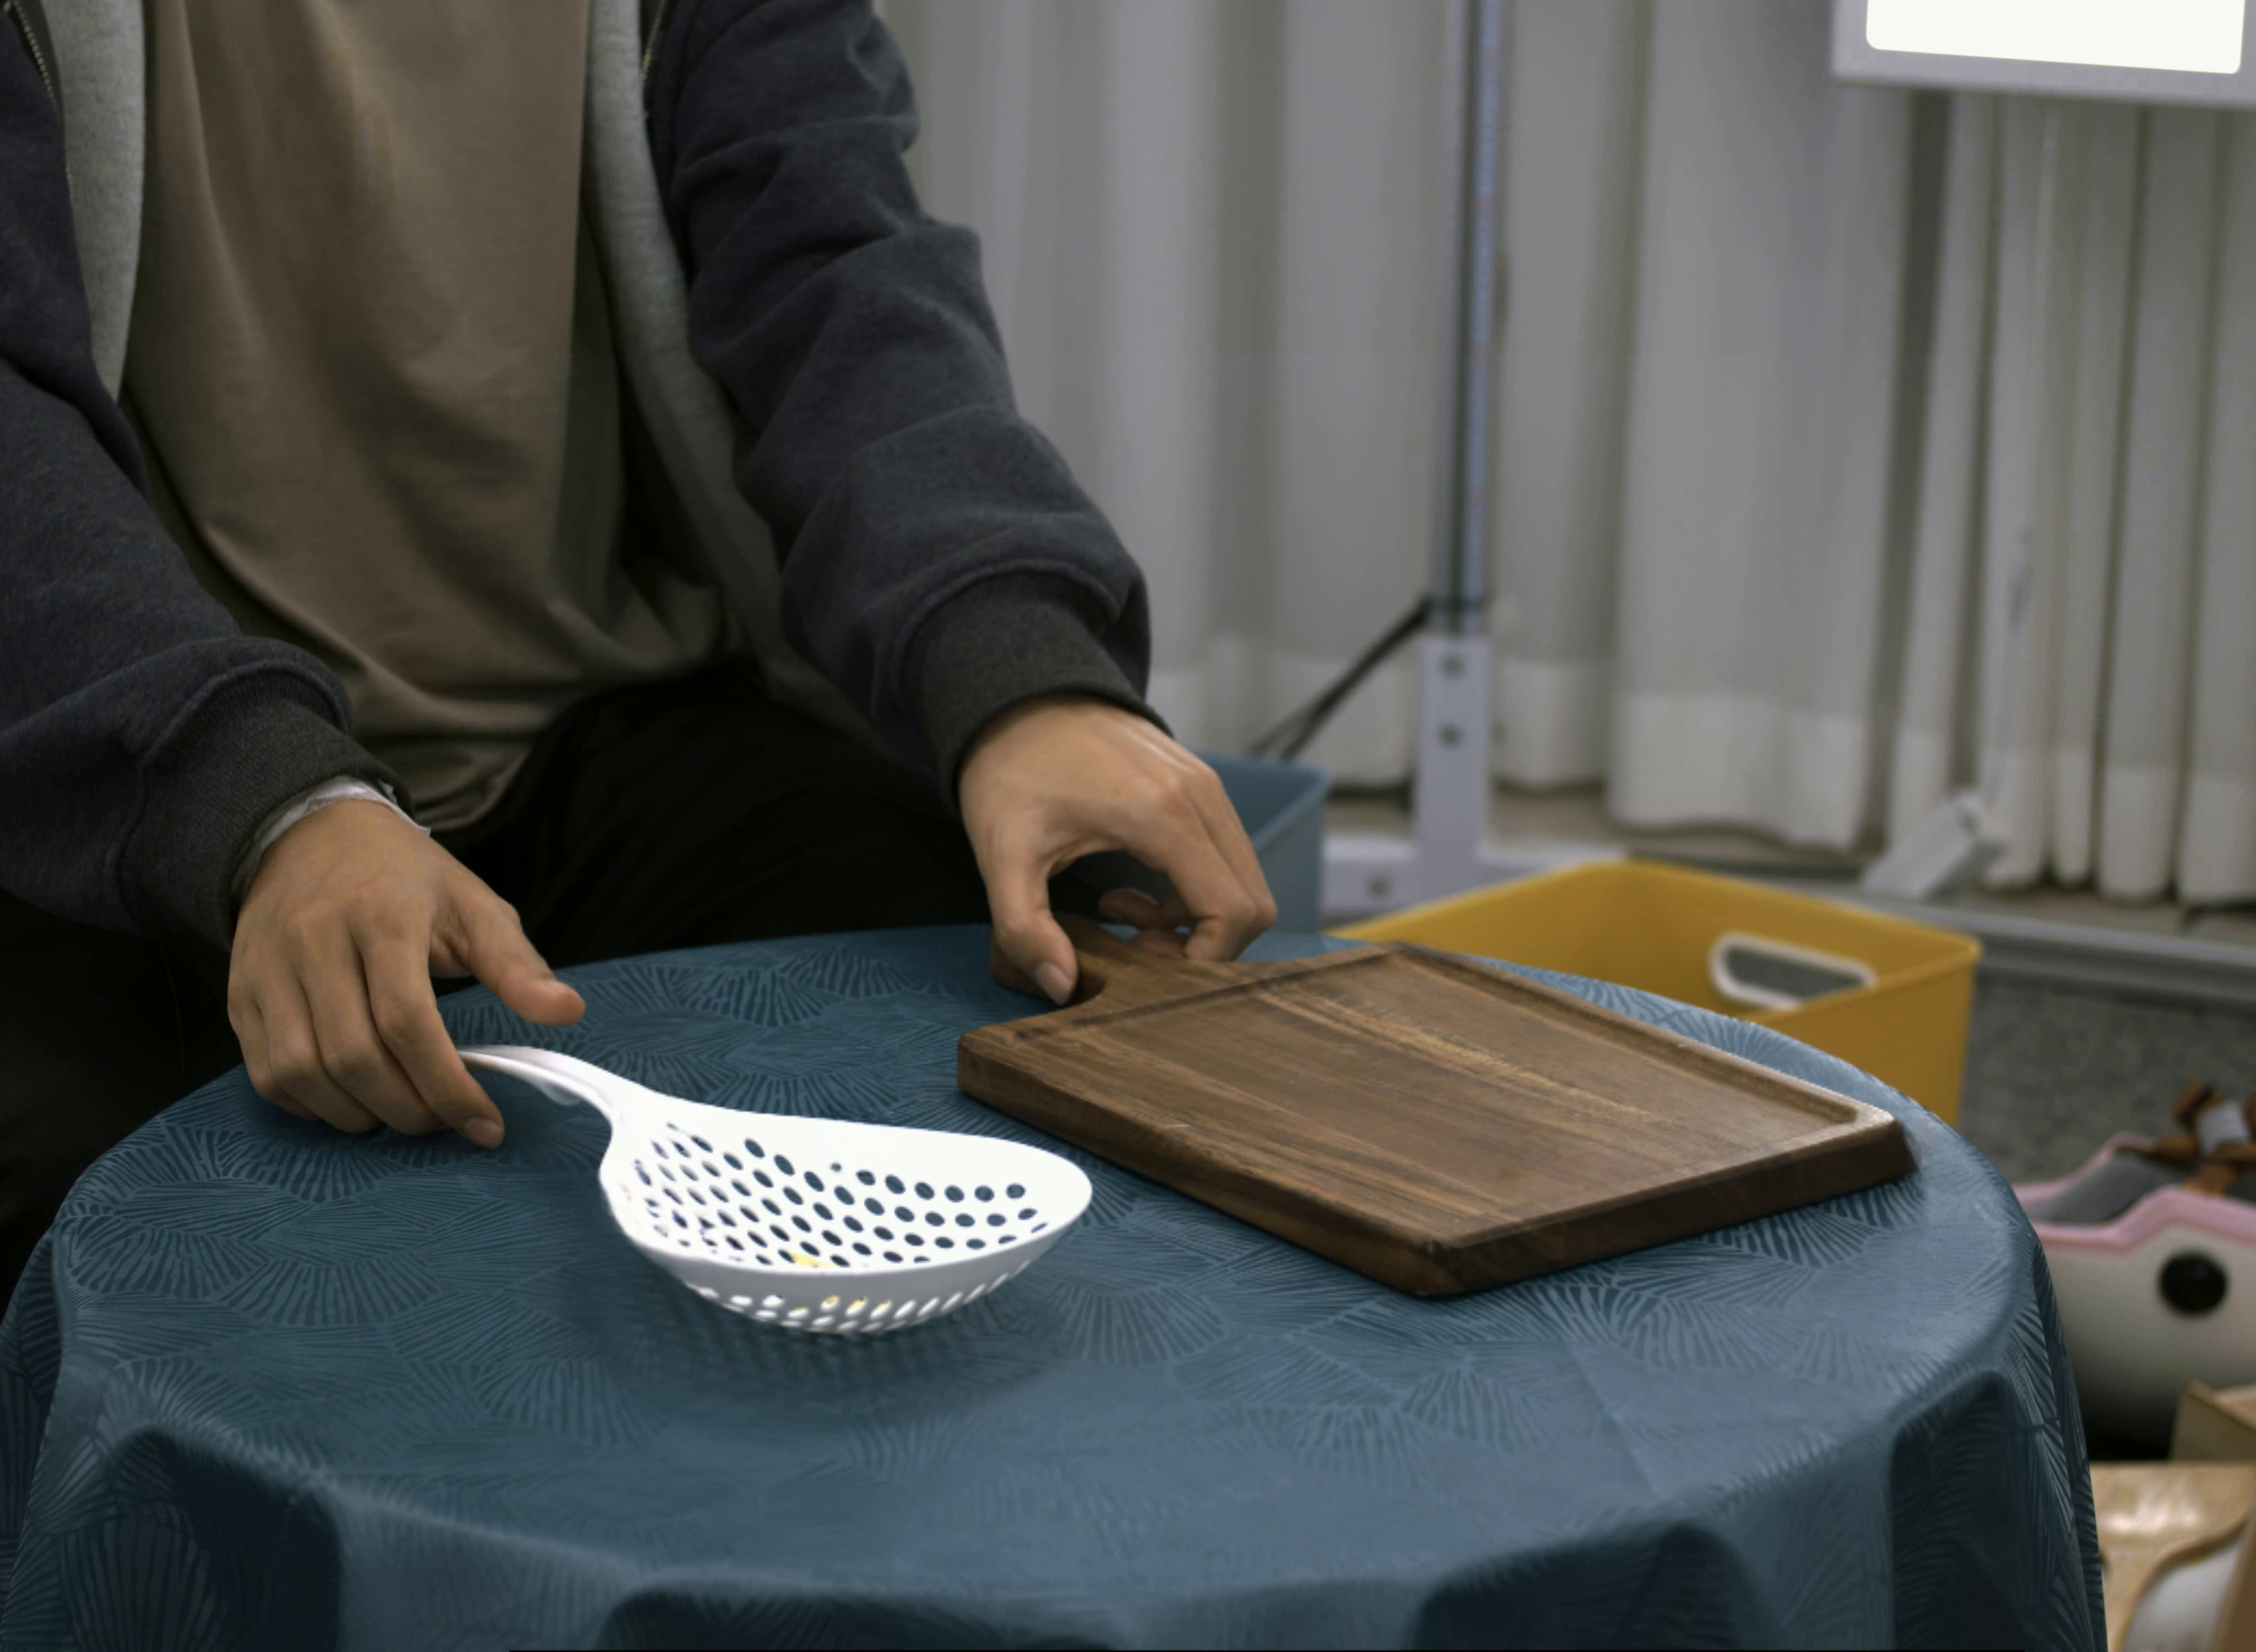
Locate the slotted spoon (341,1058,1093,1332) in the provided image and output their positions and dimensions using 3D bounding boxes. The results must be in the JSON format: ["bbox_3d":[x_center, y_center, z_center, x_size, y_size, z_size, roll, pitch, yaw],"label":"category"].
[{"bbox_3d":[-0.144,0.098,1.592,0.137,0.051,0.343,-14,21,-35],"label":"slotted spoon"}]

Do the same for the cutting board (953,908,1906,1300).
[{"bbox_3d":[0.064,0.077,1.713,0.202,0.023,0.347,-10,19,-36],"label":"cutting board"}]
